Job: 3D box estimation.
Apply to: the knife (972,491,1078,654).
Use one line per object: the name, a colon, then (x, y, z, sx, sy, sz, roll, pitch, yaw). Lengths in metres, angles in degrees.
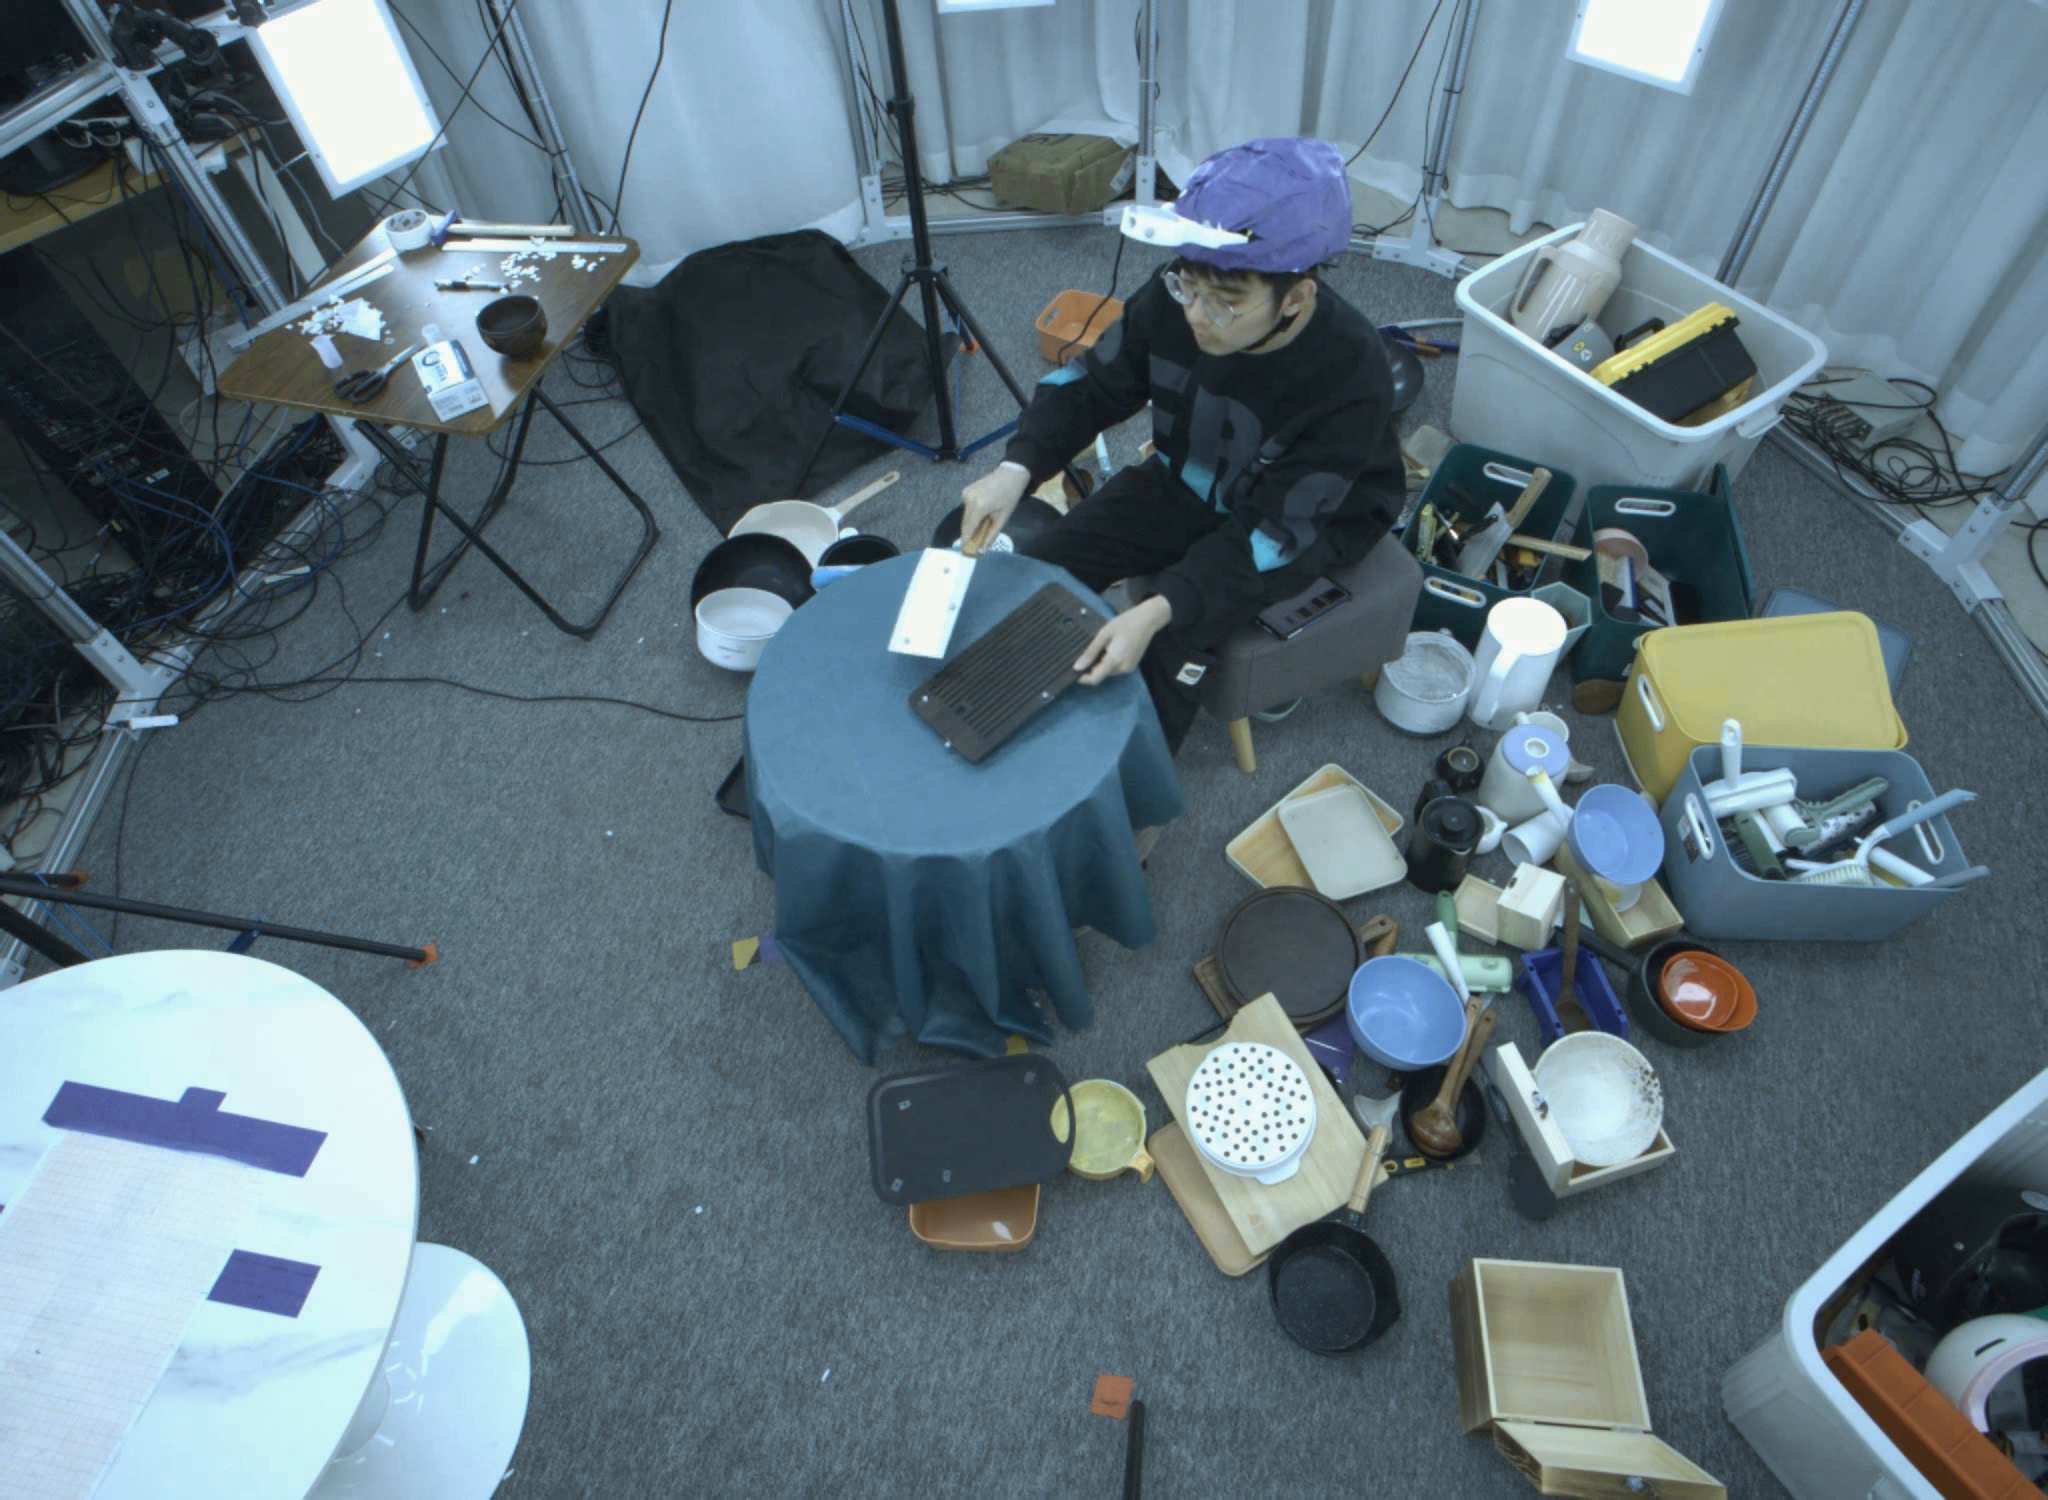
knife: (-0.001, -0.278, 1.873, 0.092, 0.021, 0.305, 14, 67, 18)

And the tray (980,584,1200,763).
tray: (0.098, -0.117, 1.830, 0.307, 0.019, 0.167, -36, 59, -12)
